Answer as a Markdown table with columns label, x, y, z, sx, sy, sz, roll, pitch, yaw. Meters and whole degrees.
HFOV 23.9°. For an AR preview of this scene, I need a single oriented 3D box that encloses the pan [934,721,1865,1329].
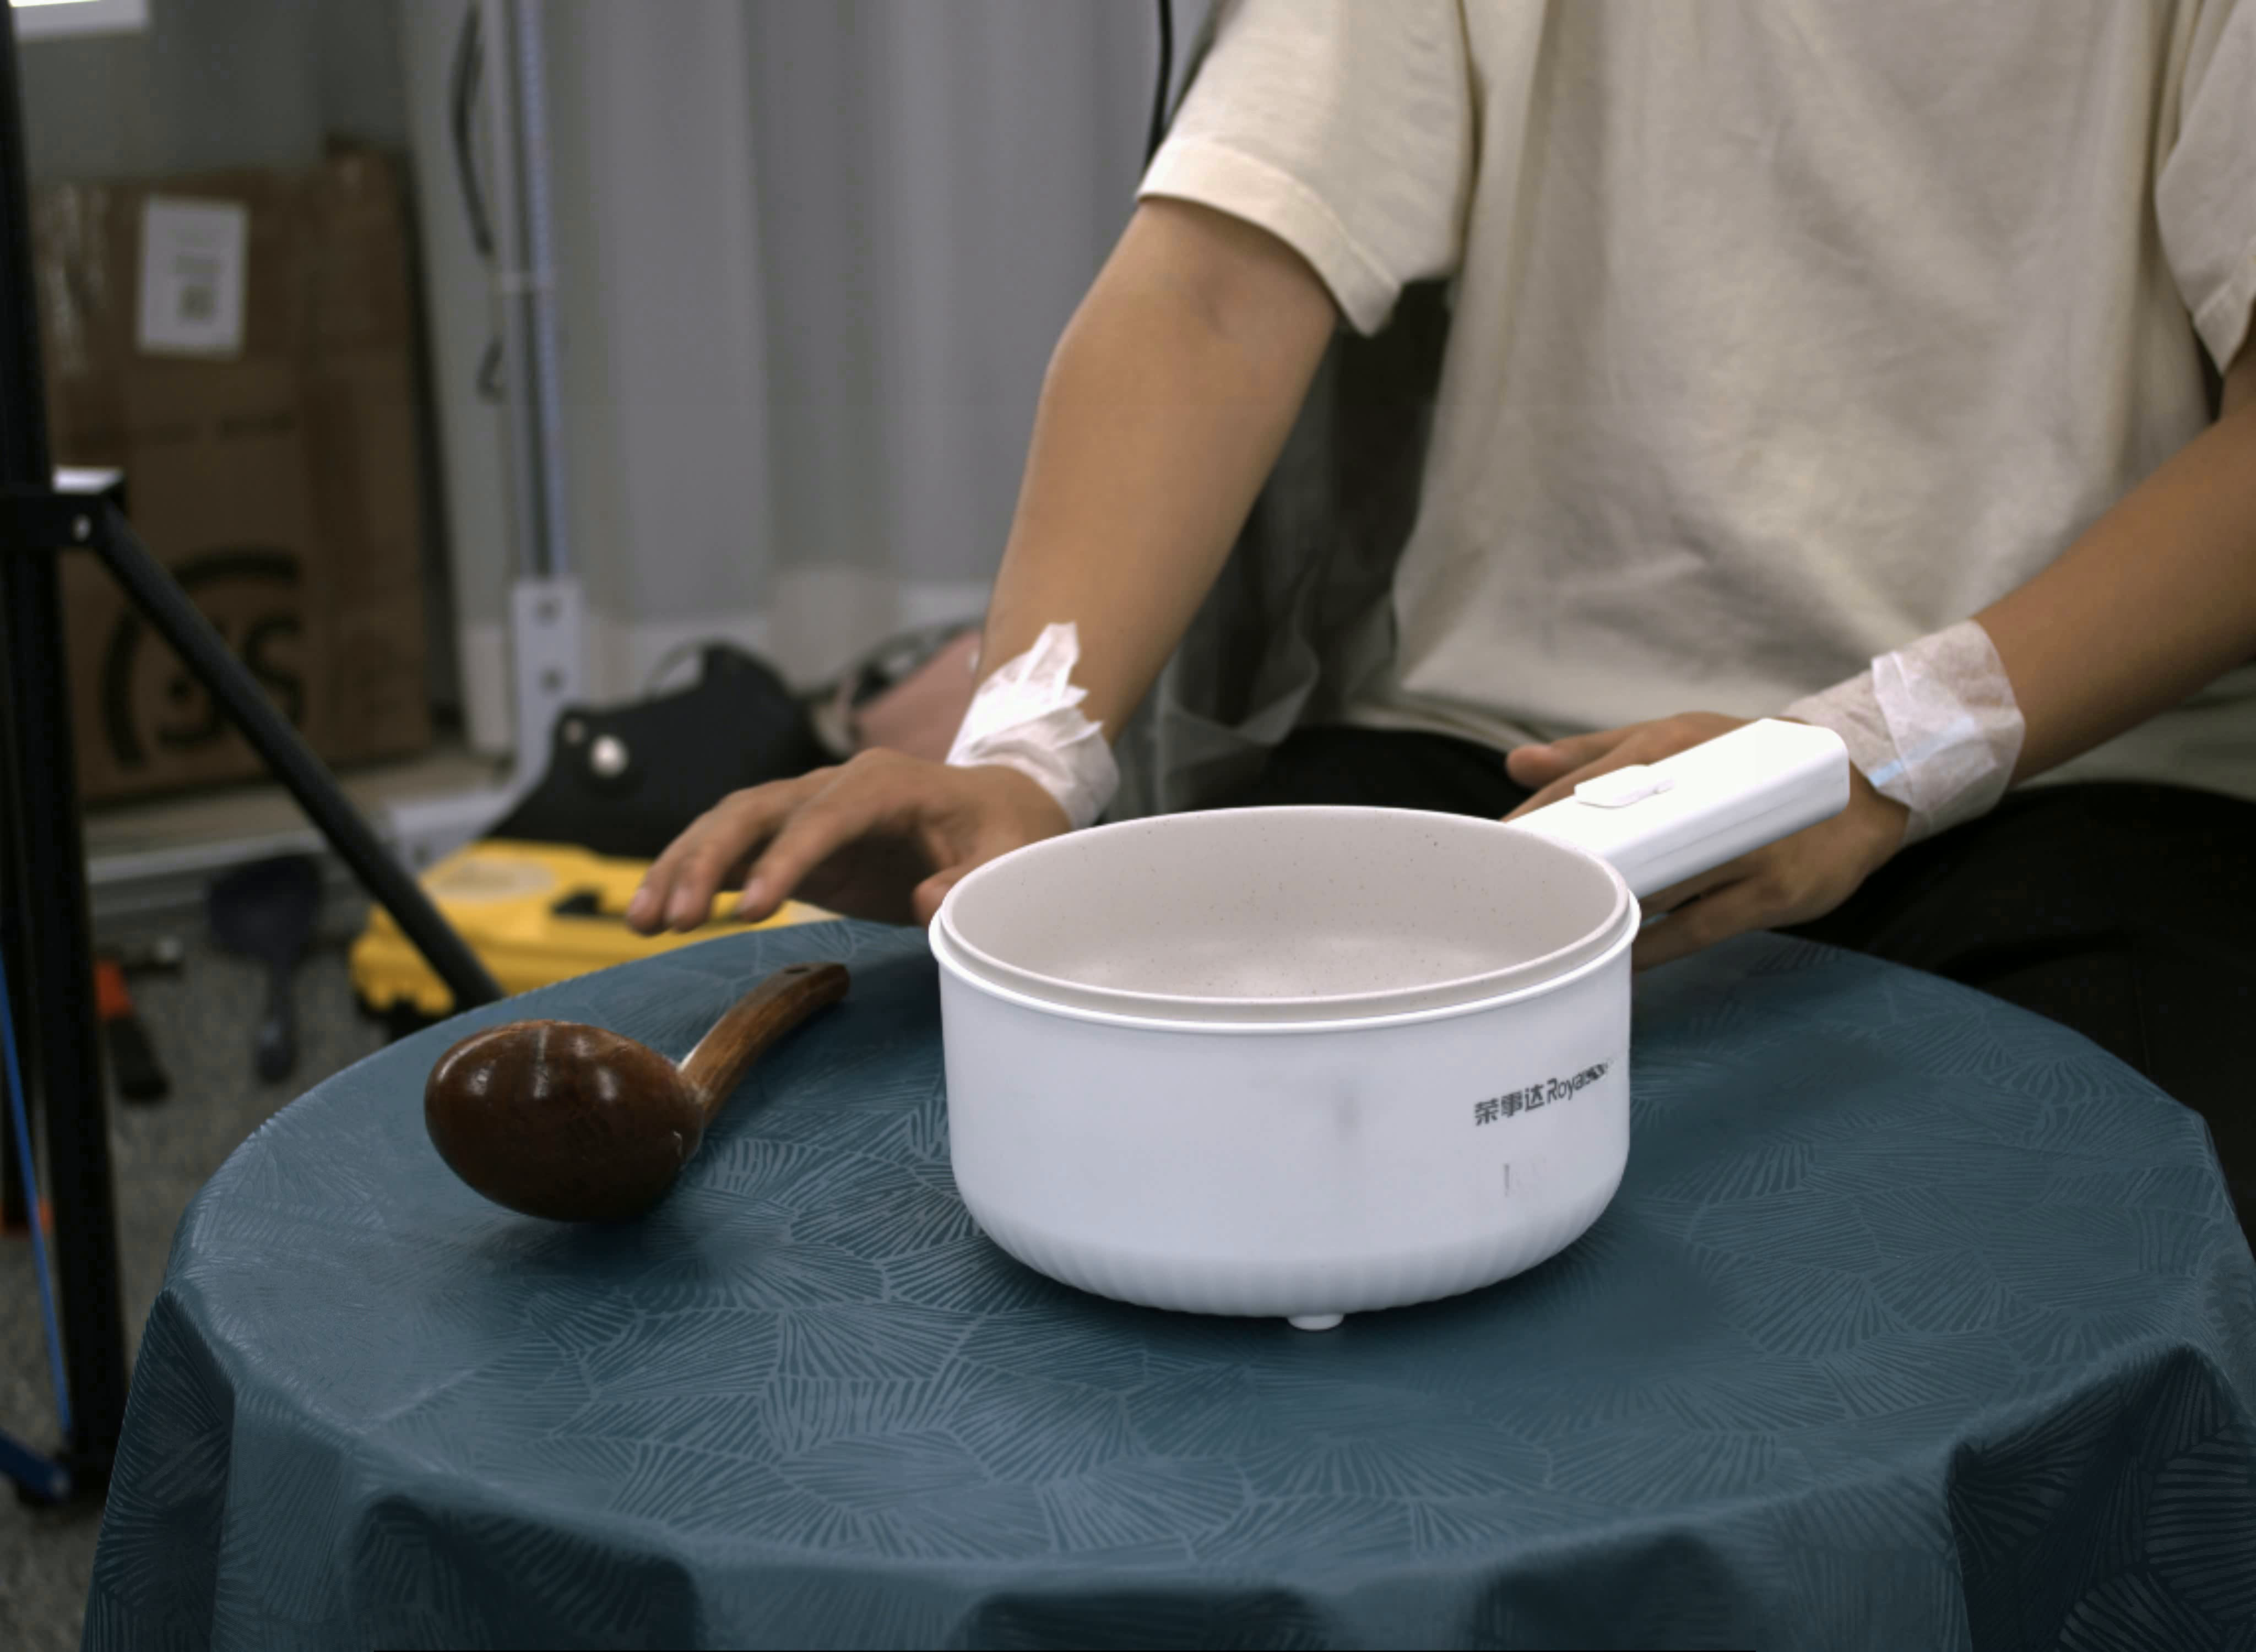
| label | x | y | z | sx | sy | sz | roll | pitch | yaw |
| --- | --- | --- | --- | --- | --- | --- | --- | --- | --- |
| pan | 0.098 | 0.052 | 1.557 | 0.206 | 0.102 | 0.347 | 11 | 20 | 42 |

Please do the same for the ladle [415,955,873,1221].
| label | x | y | z | sx | sy | sz | roll | pitch | yaw |
| --- | --- | --- | --- | --- | --- | --- | --- | --- | --- |
| ladle | -0.136 | 0.055 | 1.621 | 0.082 | 0.076 | 0.272 | -1 | 16 | 16 |
